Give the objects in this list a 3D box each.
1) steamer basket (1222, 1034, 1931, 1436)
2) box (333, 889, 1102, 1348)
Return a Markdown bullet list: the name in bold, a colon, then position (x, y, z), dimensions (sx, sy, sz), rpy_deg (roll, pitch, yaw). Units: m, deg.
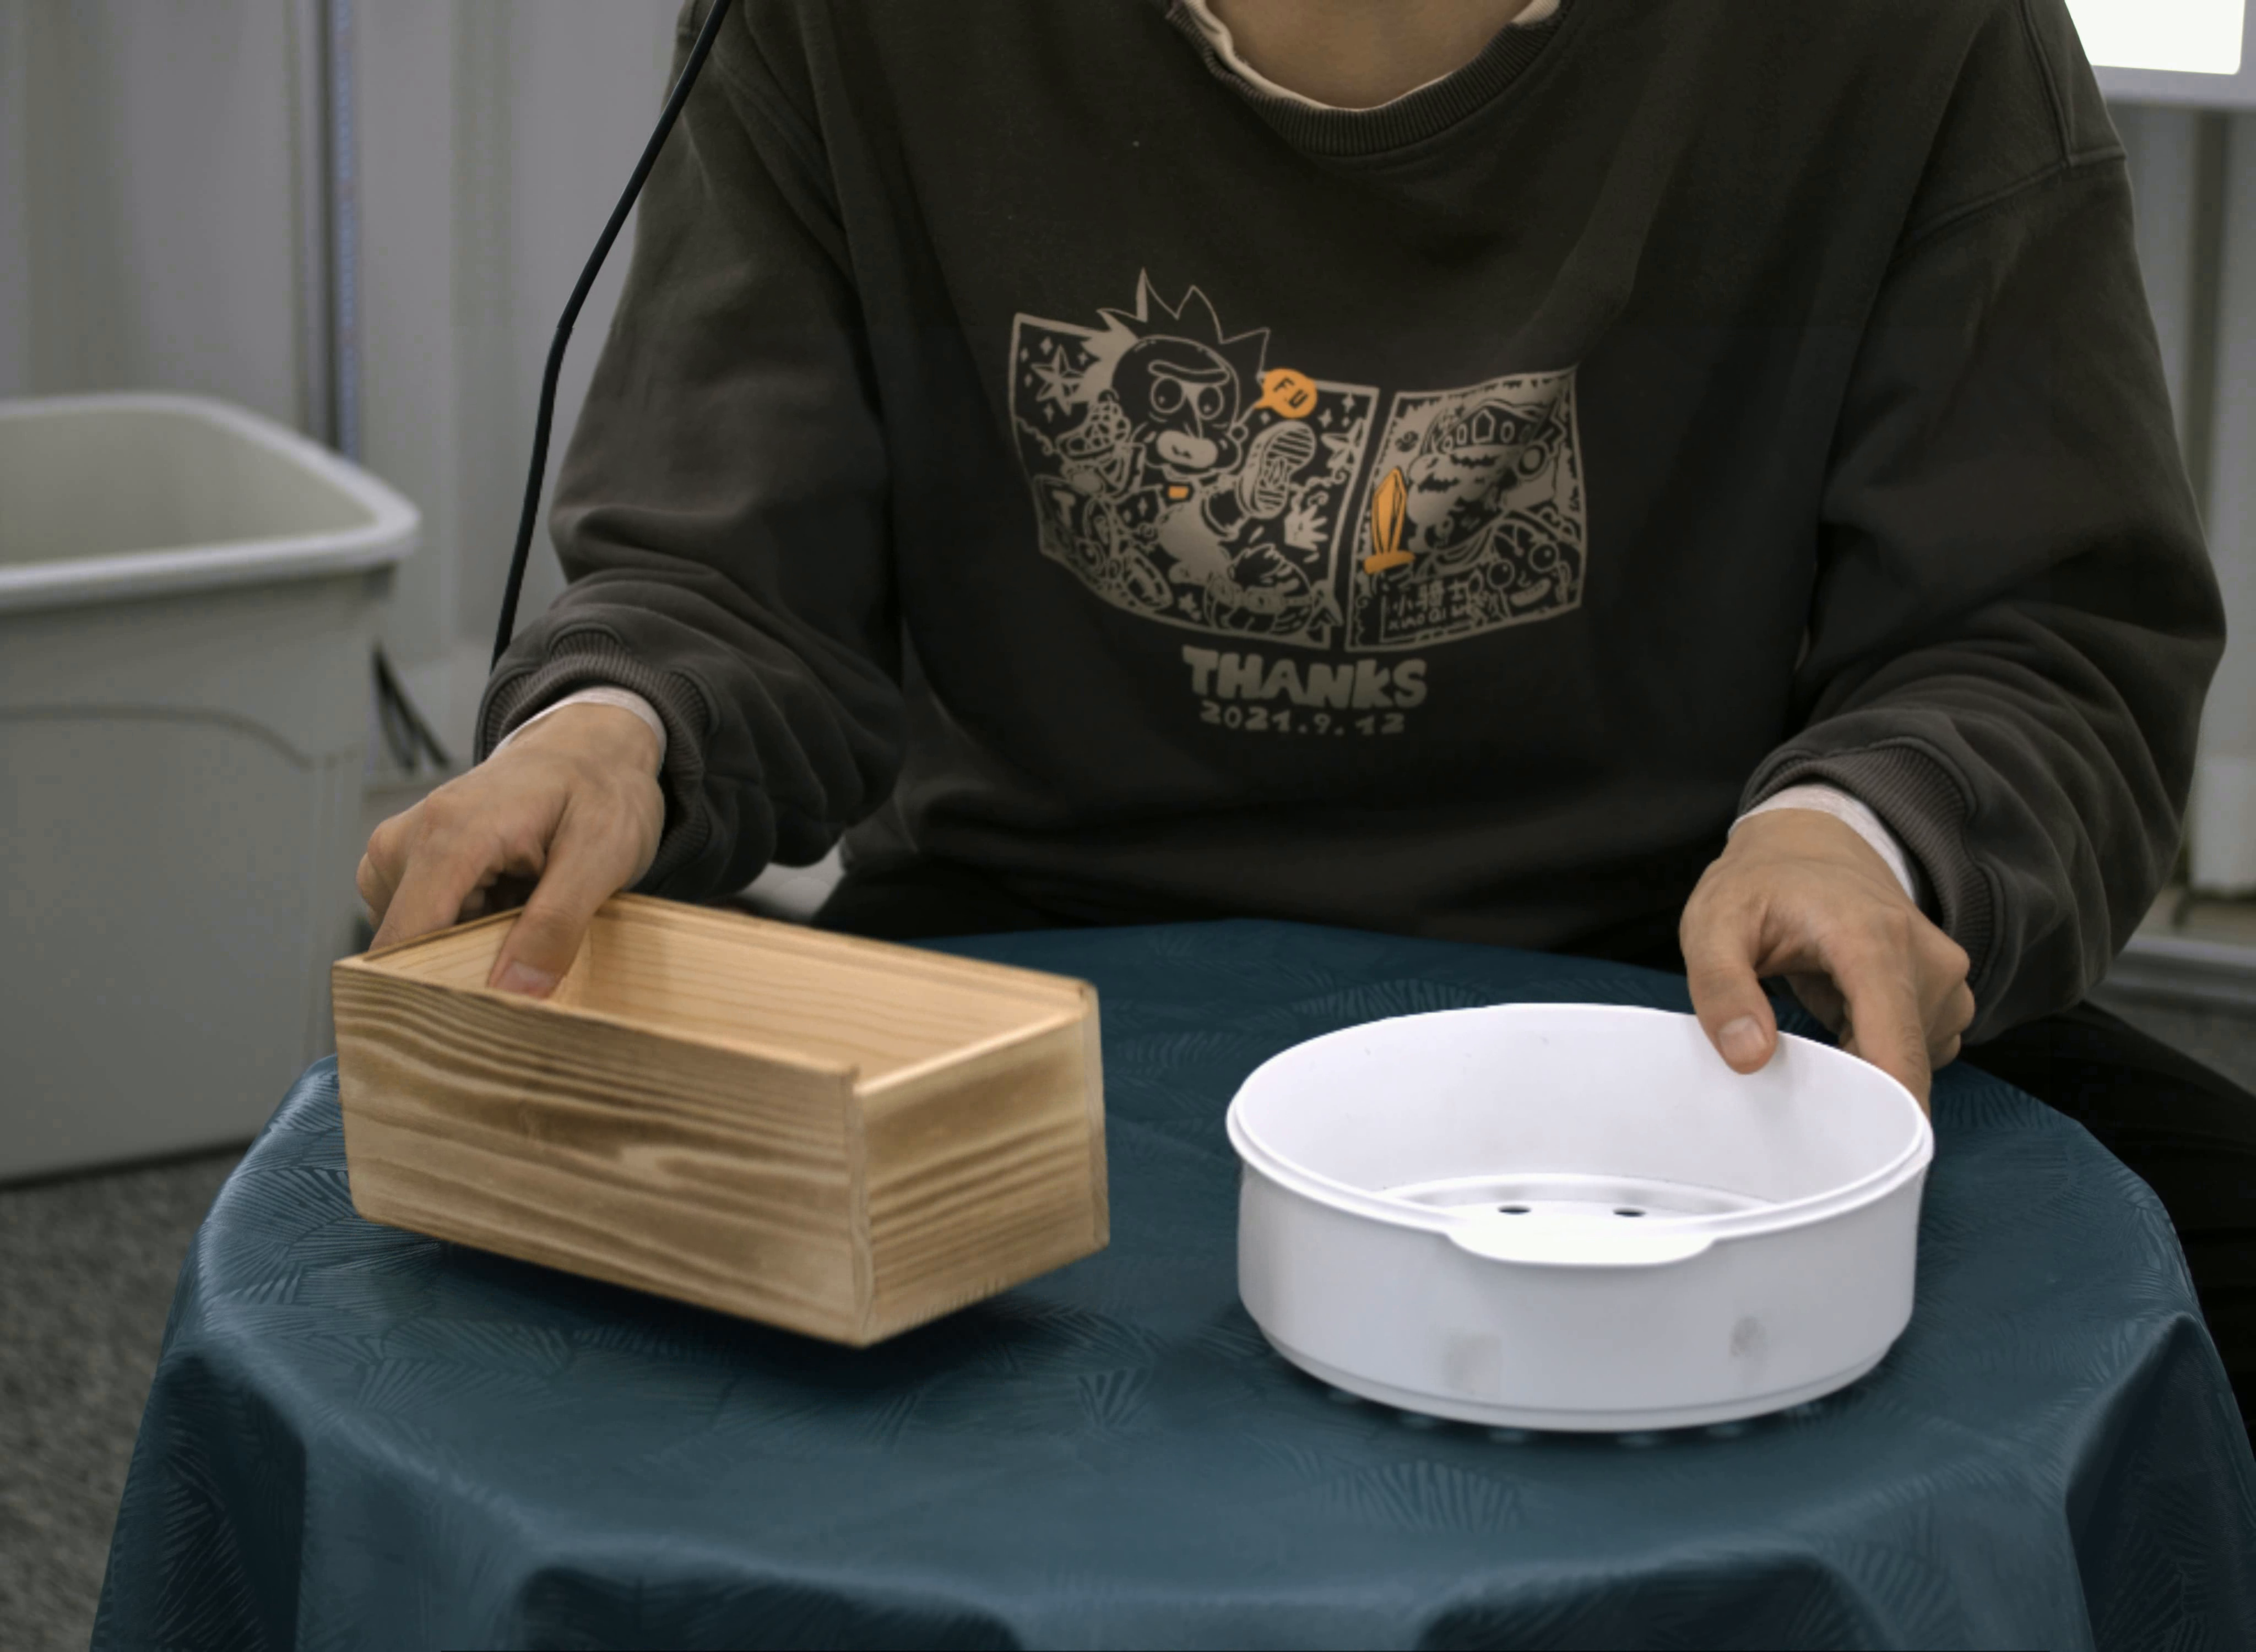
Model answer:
- **steamer basket**: position (0.127, 0.116, 1.506), dimensions (0.201, 0.070, 0.230), rpy_deg (1, 13, 4)
- **box**: position (-0.121, 0.081, 1.535), dimensions (0.208, 0.081, 0.108), rpy_deg (10, 18, 39)
